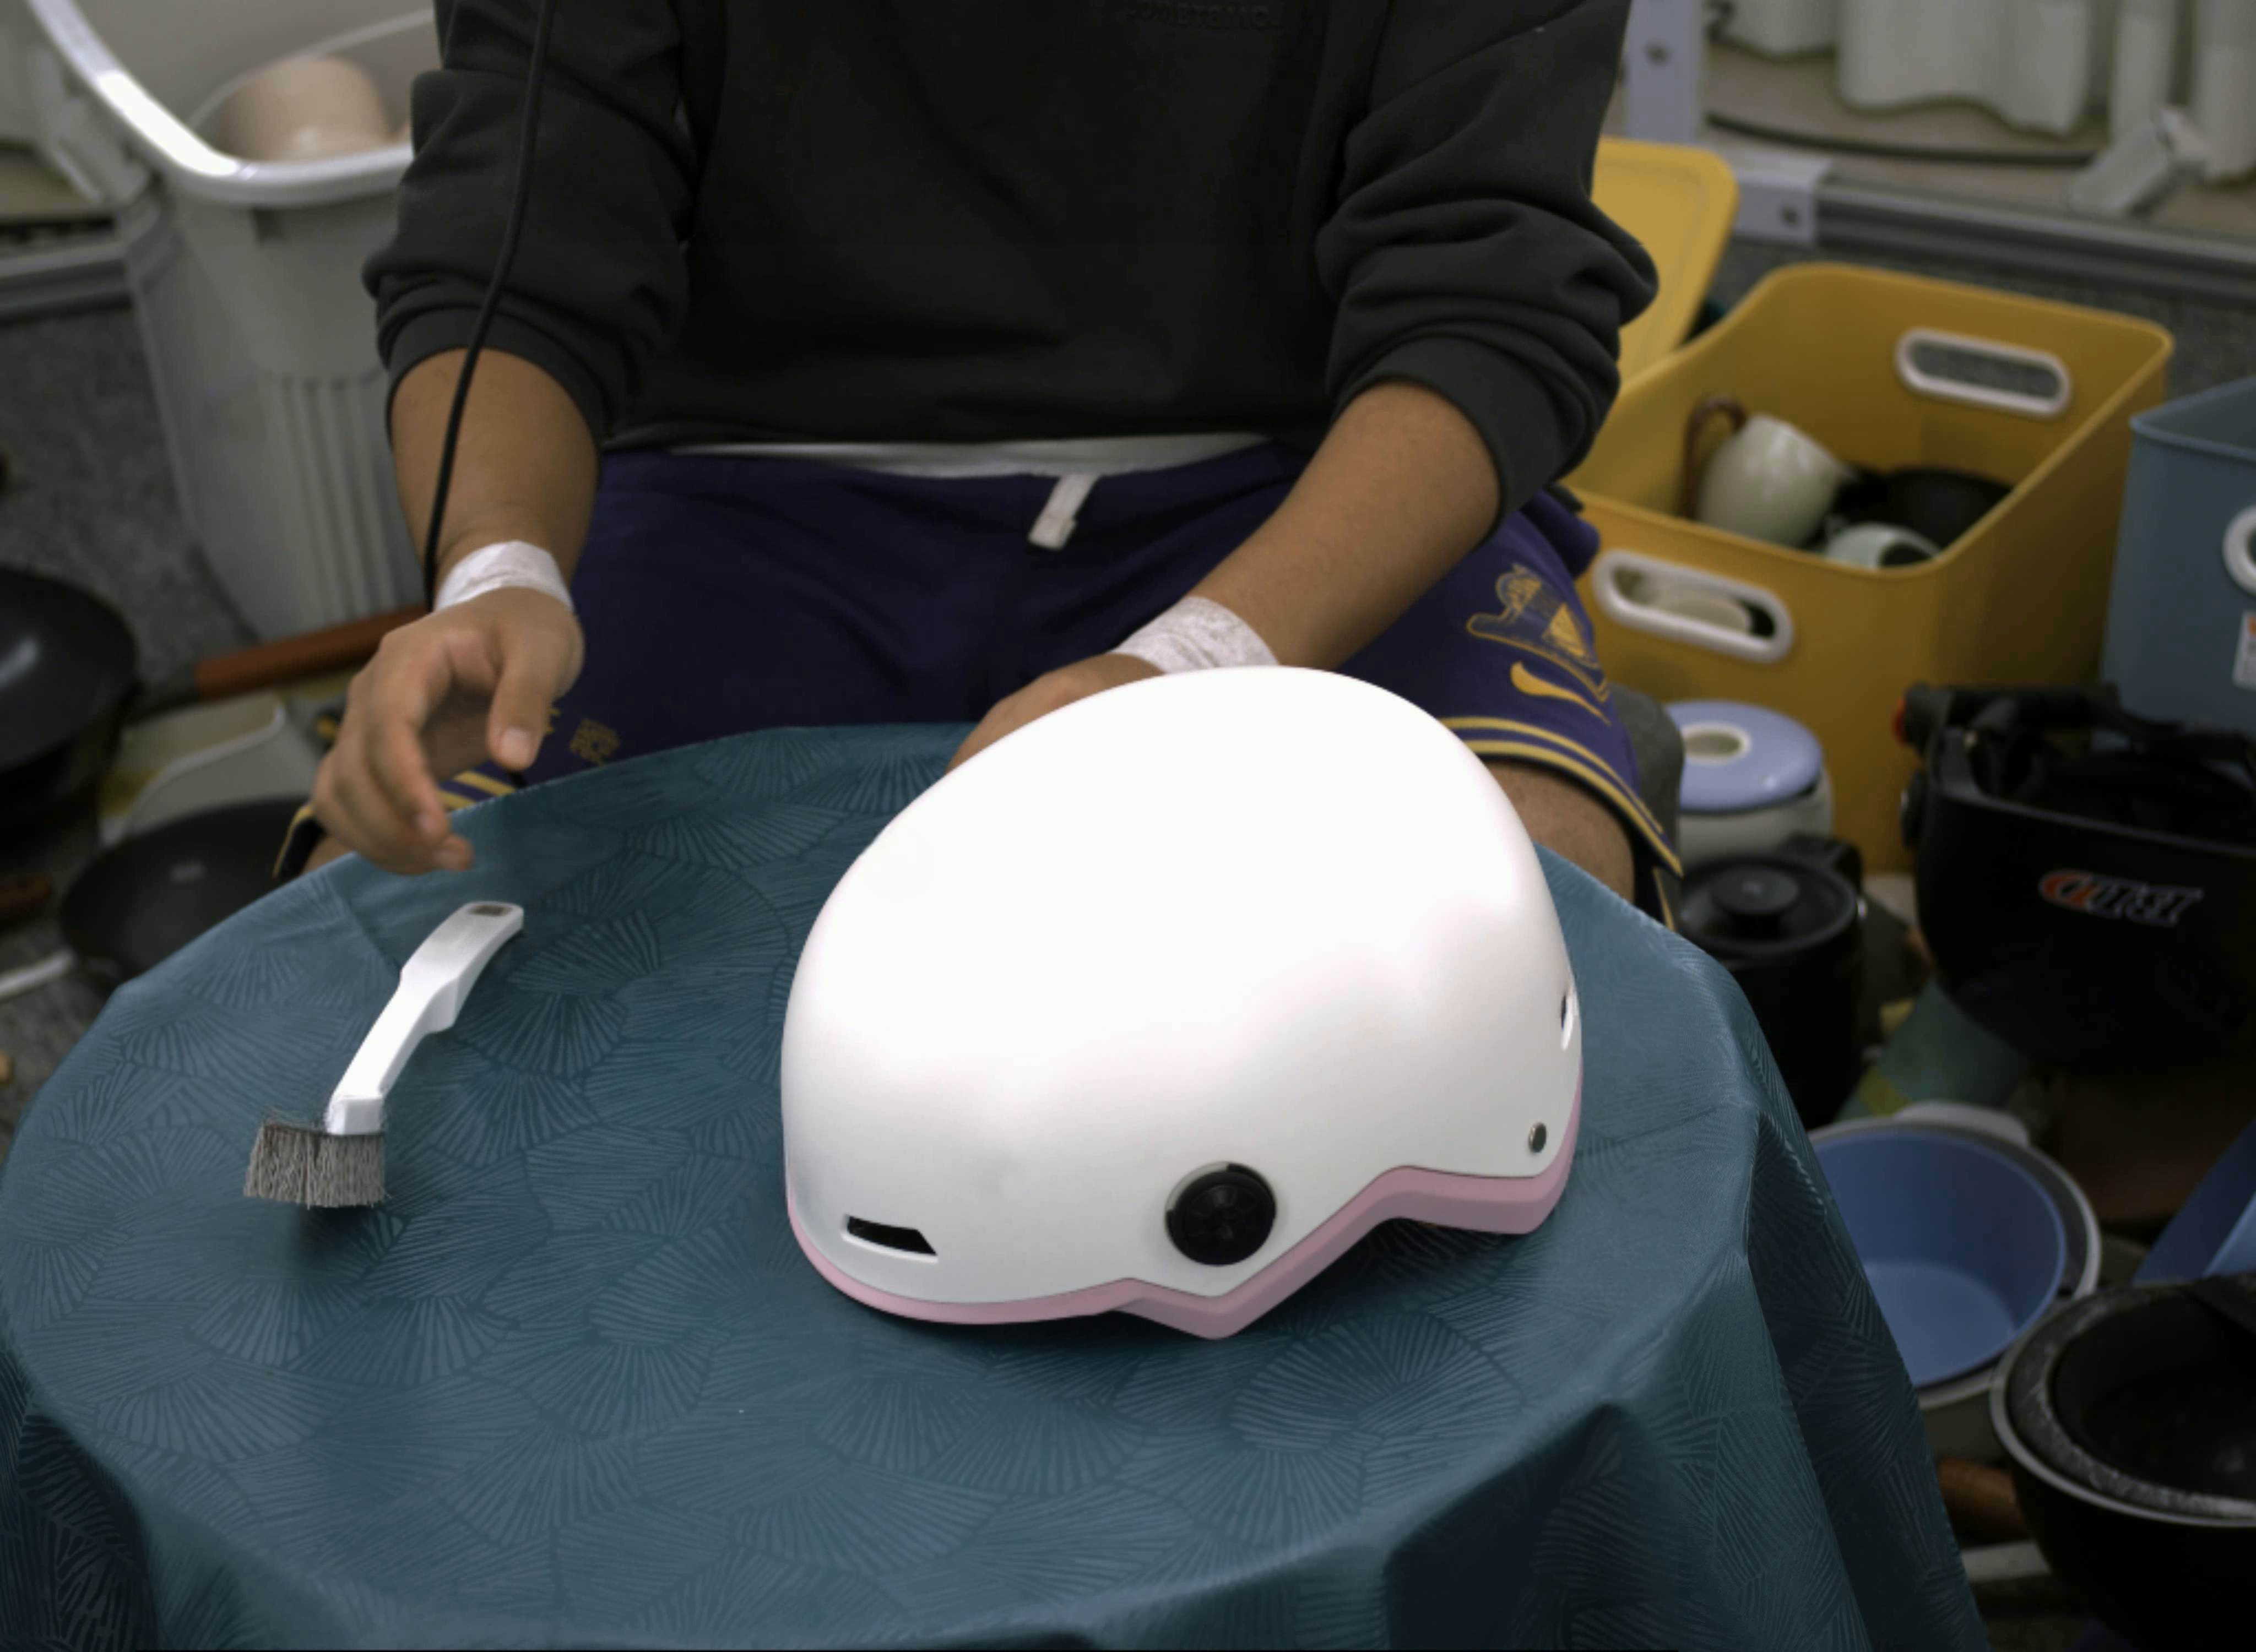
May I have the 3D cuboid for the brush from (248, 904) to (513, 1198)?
[{"bbox_3d":[-0.253,0.081,1.940,0.034,0.050,0.246,5,15,8],"label":"brush"}]

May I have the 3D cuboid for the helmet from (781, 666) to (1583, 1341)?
[{"bbox_3d":[0.014,0.042,1.839,0.269,0.165,0.239,-11,28,-14],"label":"helmet"}]
